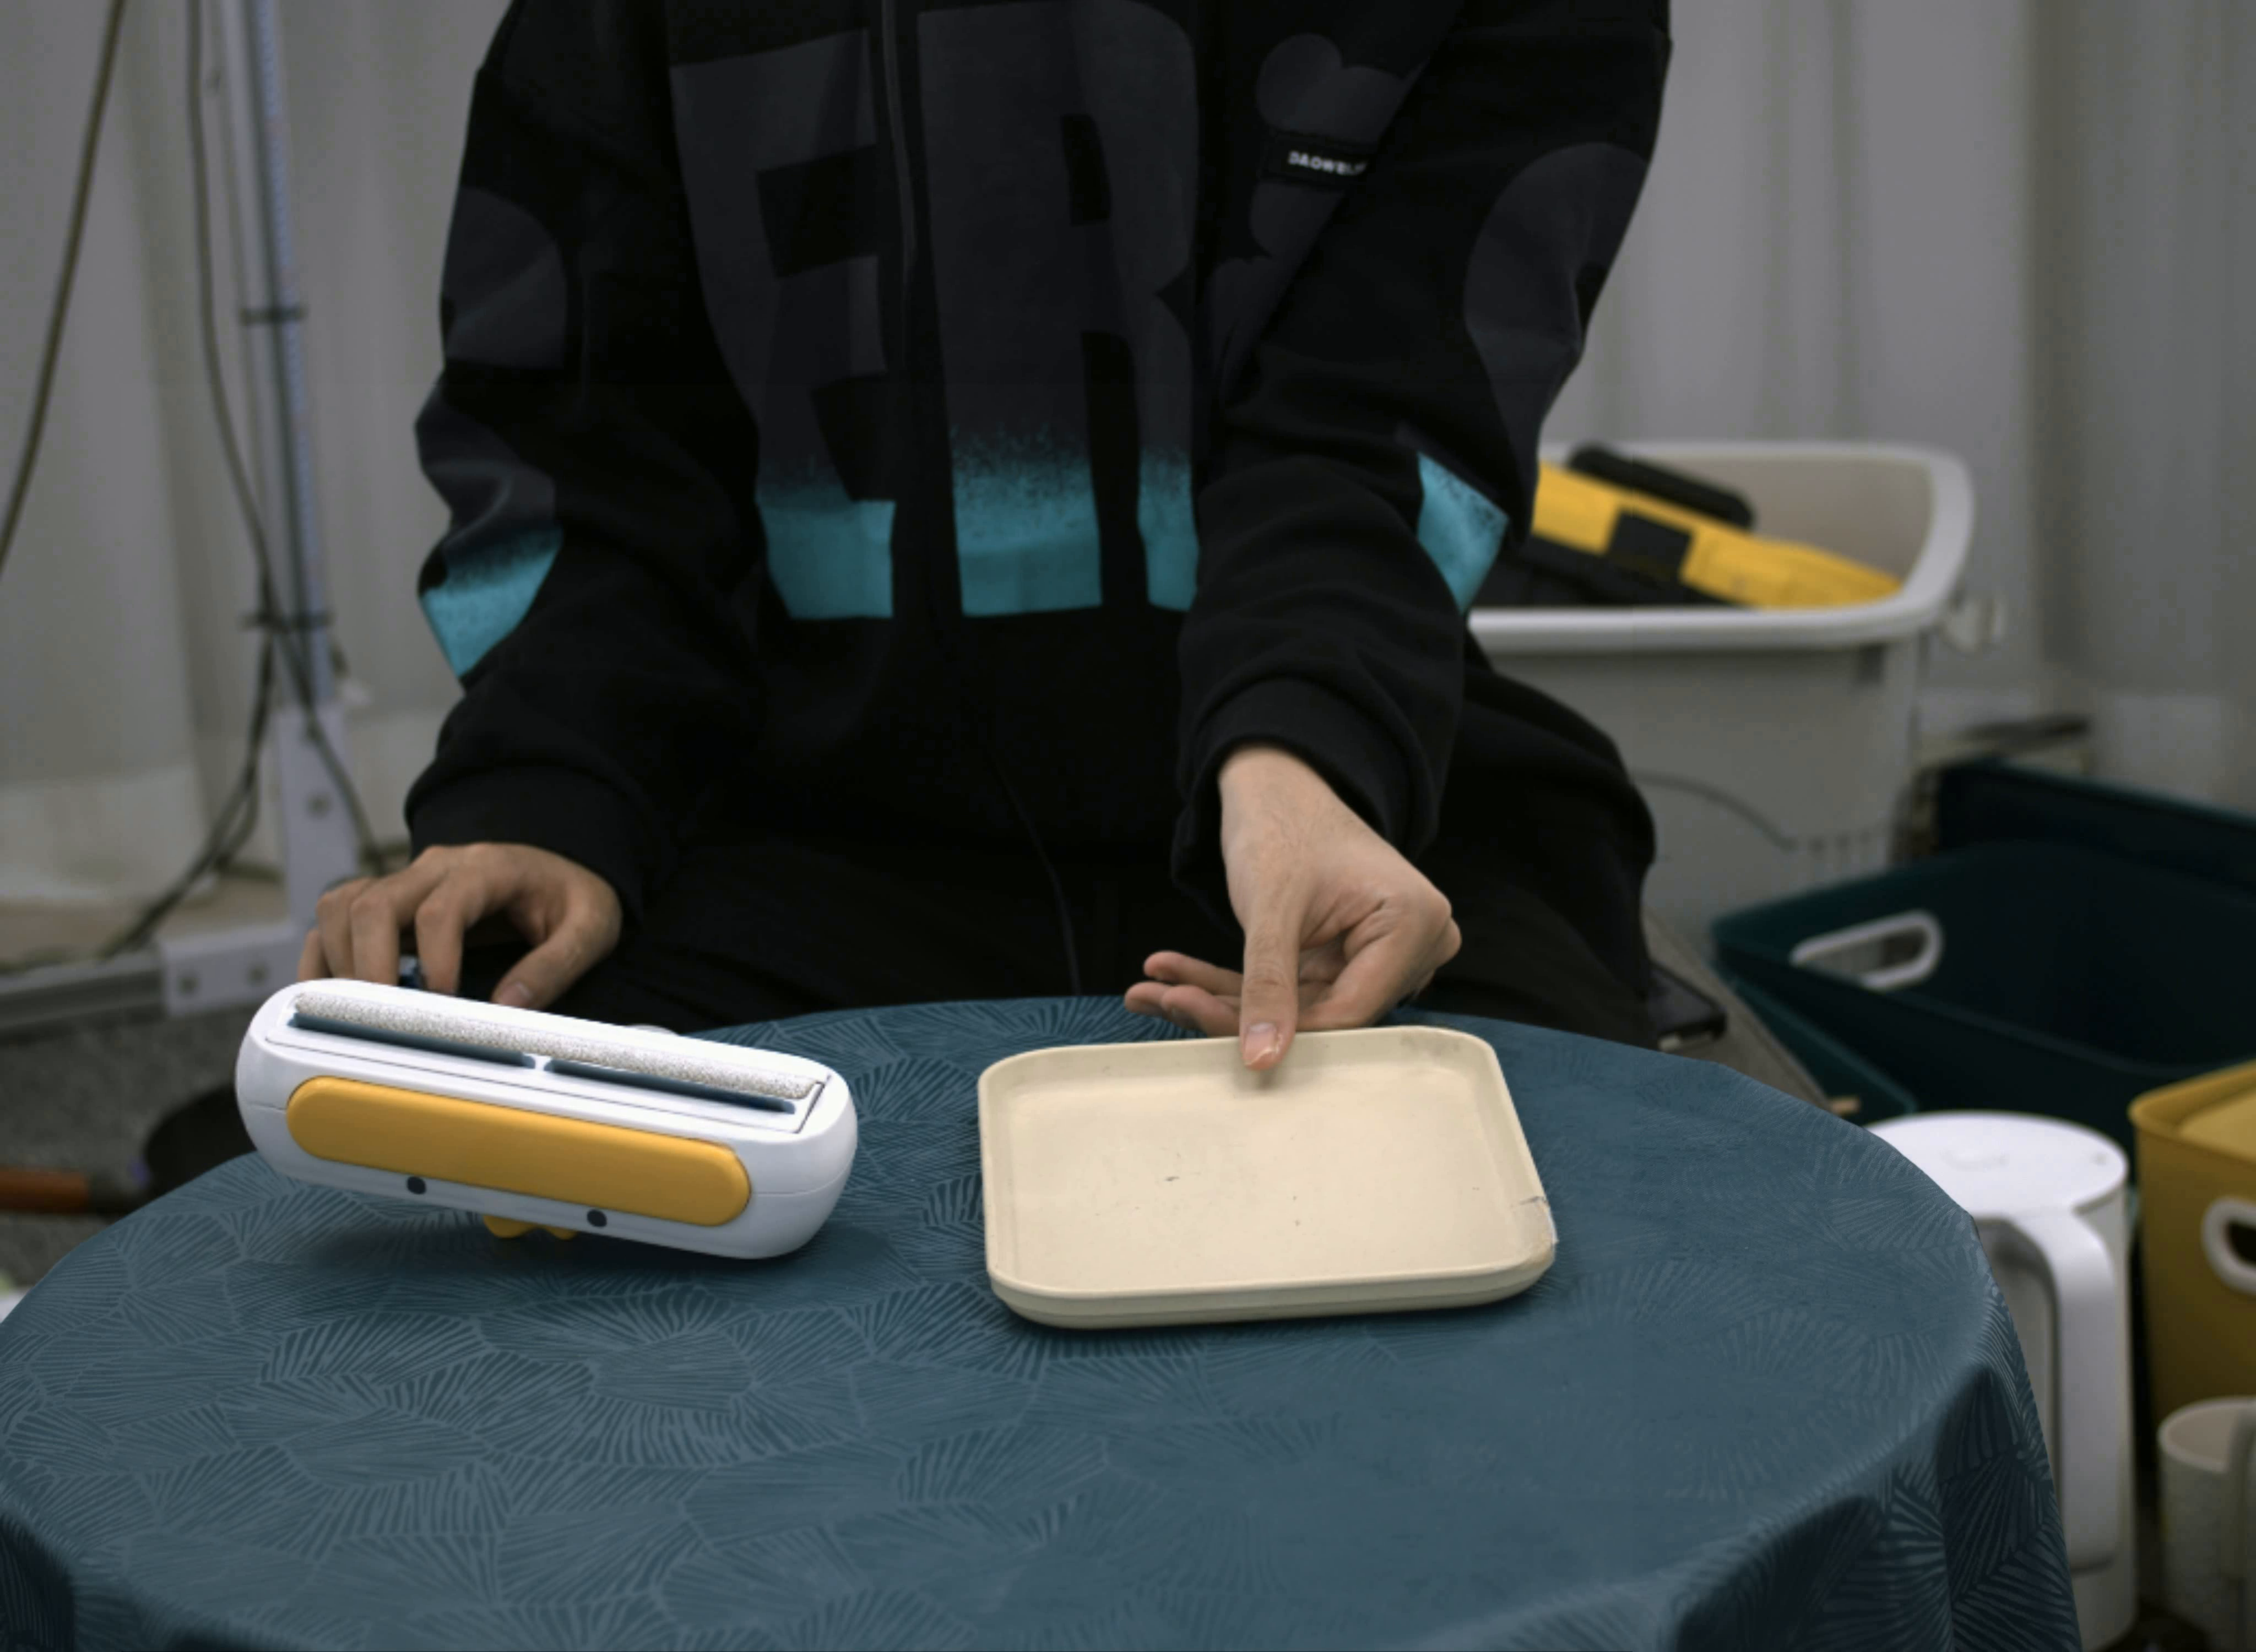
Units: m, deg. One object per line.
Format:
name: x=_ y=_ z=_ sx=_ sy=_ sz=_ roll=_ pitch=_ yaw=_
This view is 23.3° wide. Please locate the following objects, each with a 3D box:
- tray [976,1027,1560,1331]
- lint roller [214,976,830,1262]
tray: x=0.039 y=0.108 z=1.696 sx=0.171 sy=0.017 sz=0.241 roll=-4 pitch=15 yaw=-1
lint roller: x=-0.173 y=0.082 z=1.741 sx=0.193 sy=0.074 sz=0.193 roll=6 pitch=15 yaw=13
